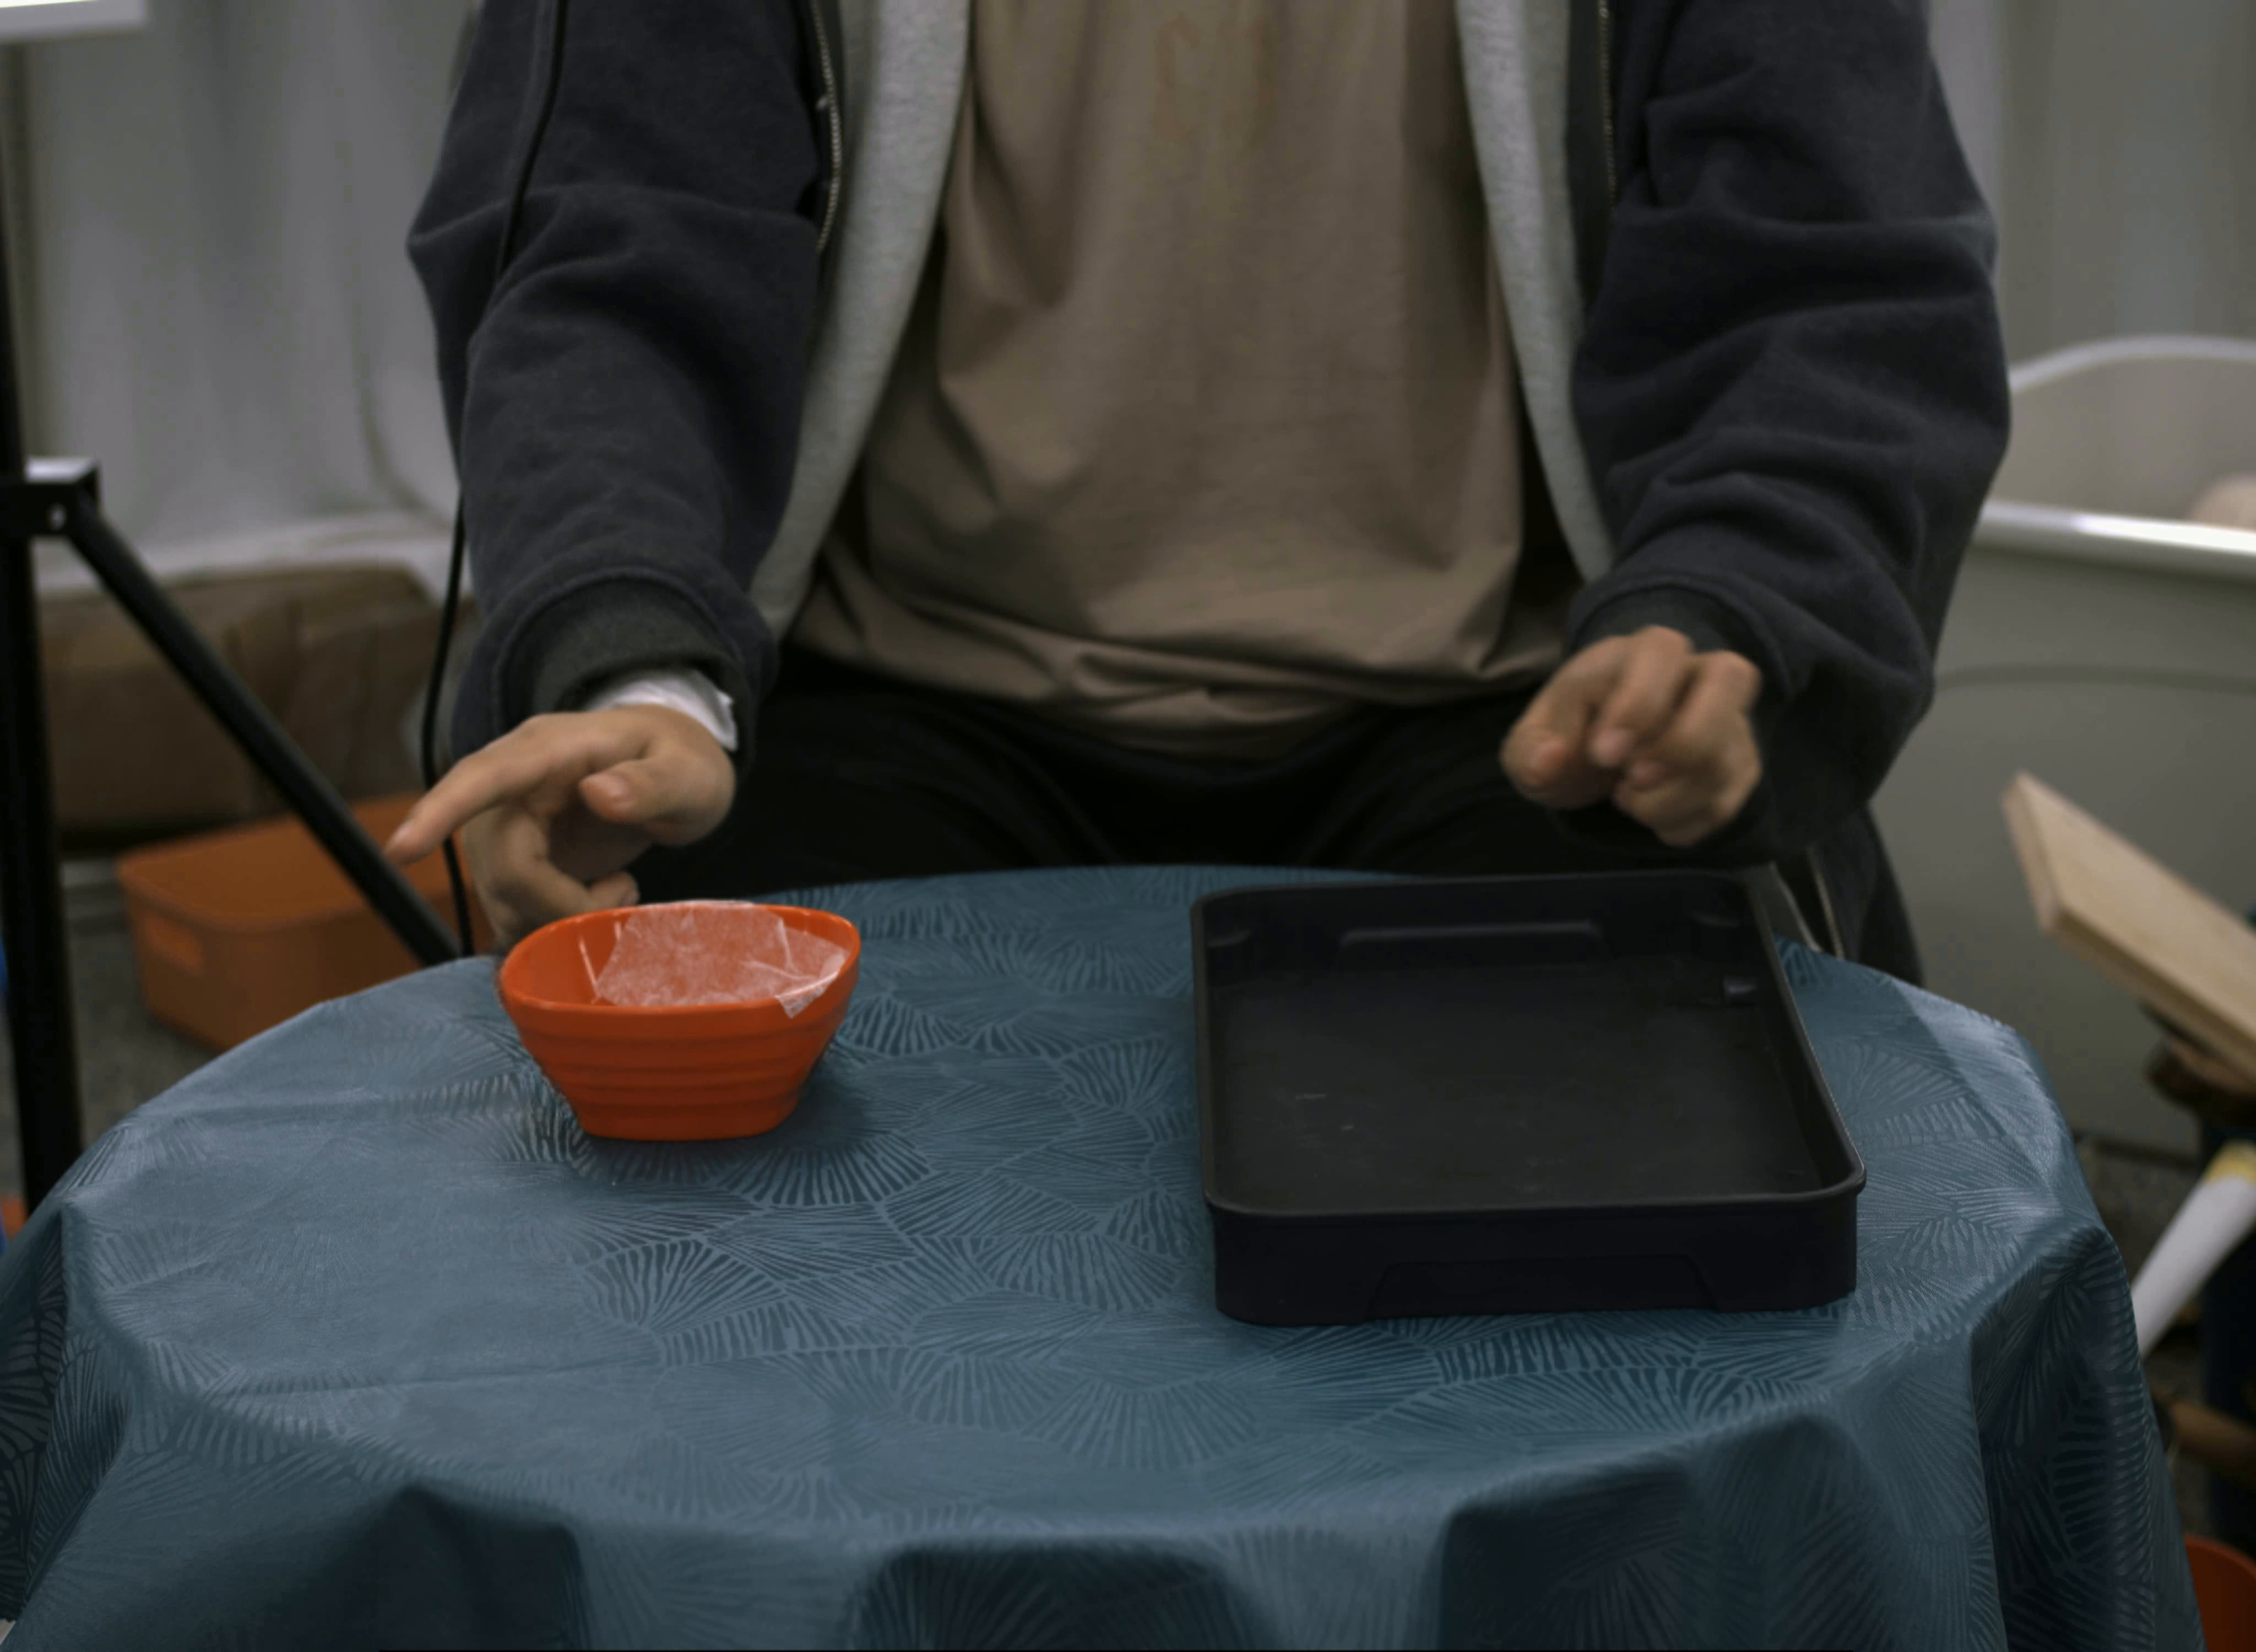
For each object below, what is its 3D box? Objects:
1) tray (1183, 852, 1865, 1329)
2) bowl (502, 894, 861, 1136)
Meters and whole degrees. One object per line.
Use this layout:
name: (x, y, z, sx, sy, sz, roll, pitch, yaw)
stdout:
tray: (0.111, 0.074, 1.589, 0.183, 0.037, 0.319, -2, 17, 1)
bowl: (-0.136, 0.061, 1.650, 0.118, 0.051, 0.119, -4, 17, 0)
